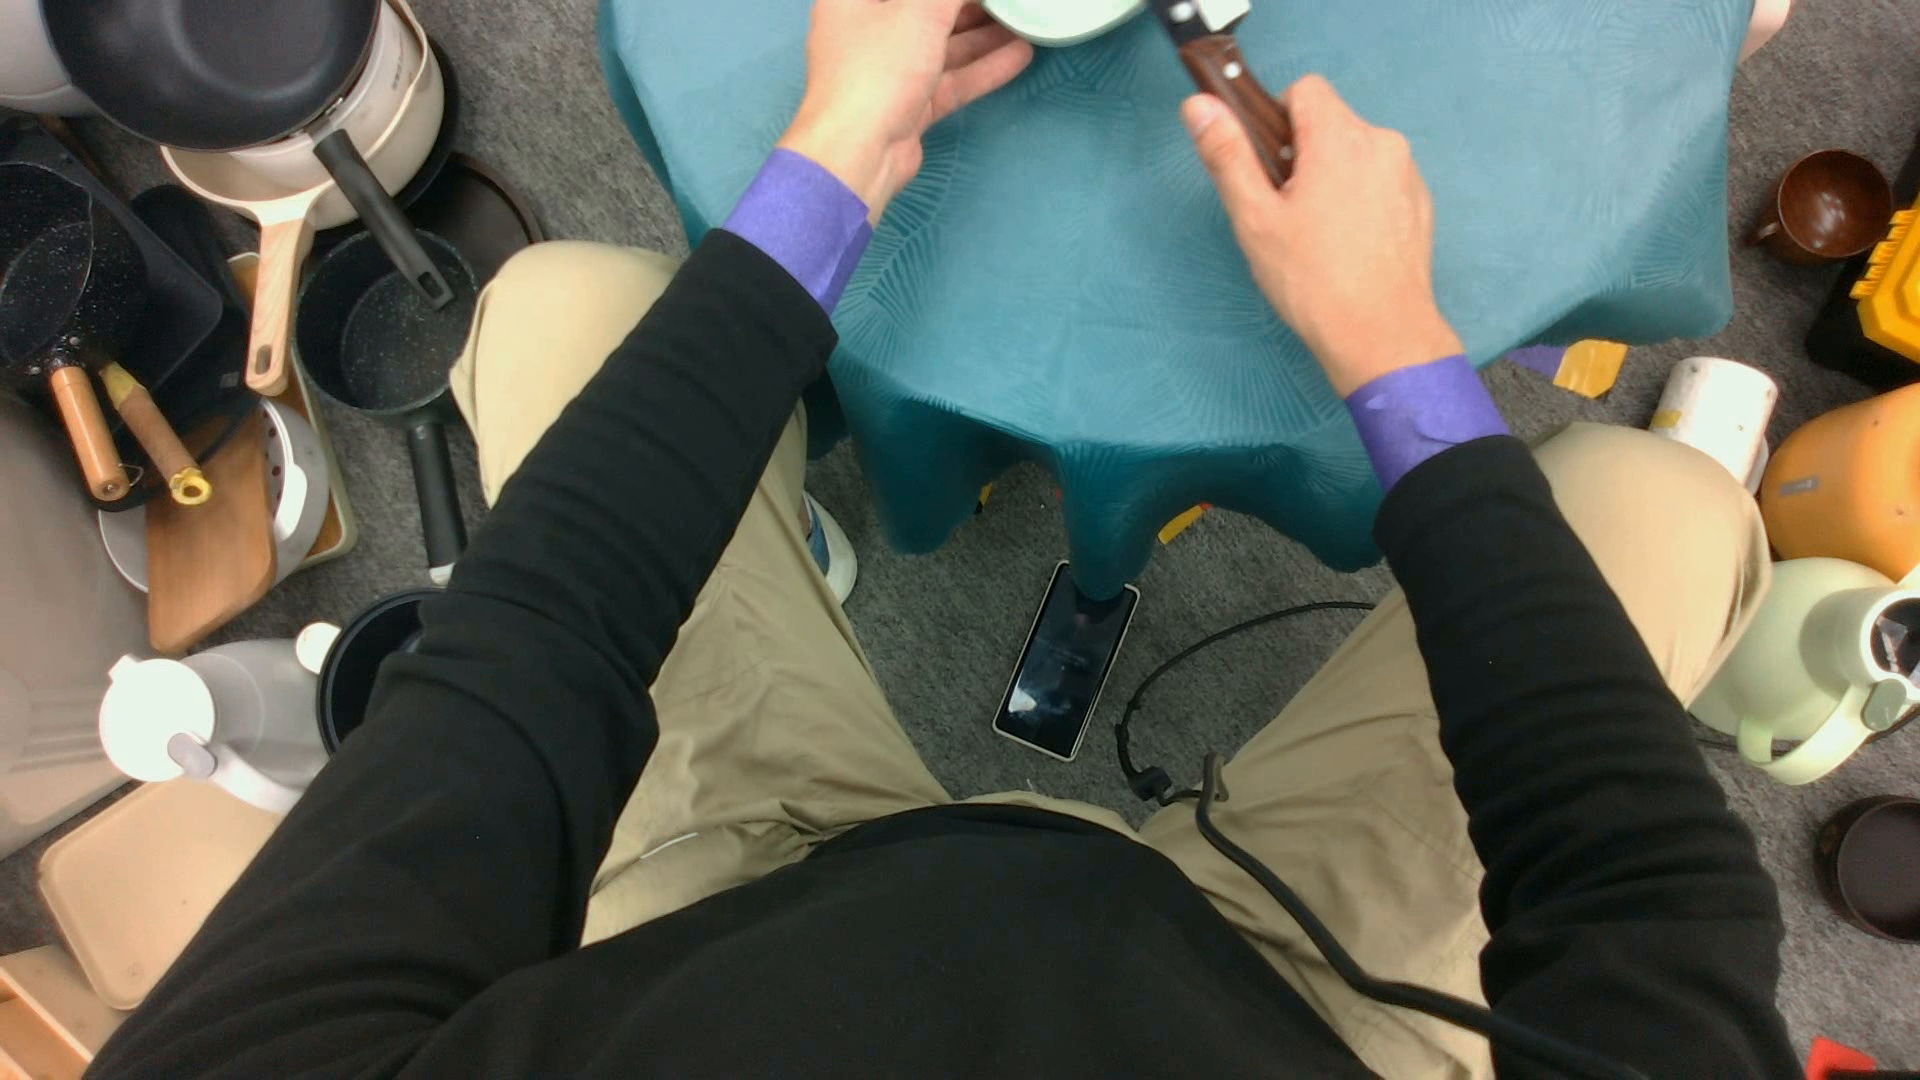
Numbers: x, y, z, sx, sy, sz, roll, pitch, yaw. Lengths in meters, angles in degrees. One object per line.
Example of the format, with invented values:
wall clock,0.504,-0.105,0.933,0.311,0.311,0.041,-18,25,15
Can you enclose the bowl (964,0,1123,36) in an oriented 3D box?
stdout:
bowl,0.045,-0.313,0.687,0.151,0.058,0.151,-1,82,5

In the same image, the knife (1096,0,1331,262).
knife,0.082,-0.248,0.626,0.050,0.020,0.289,-40,99,-20
